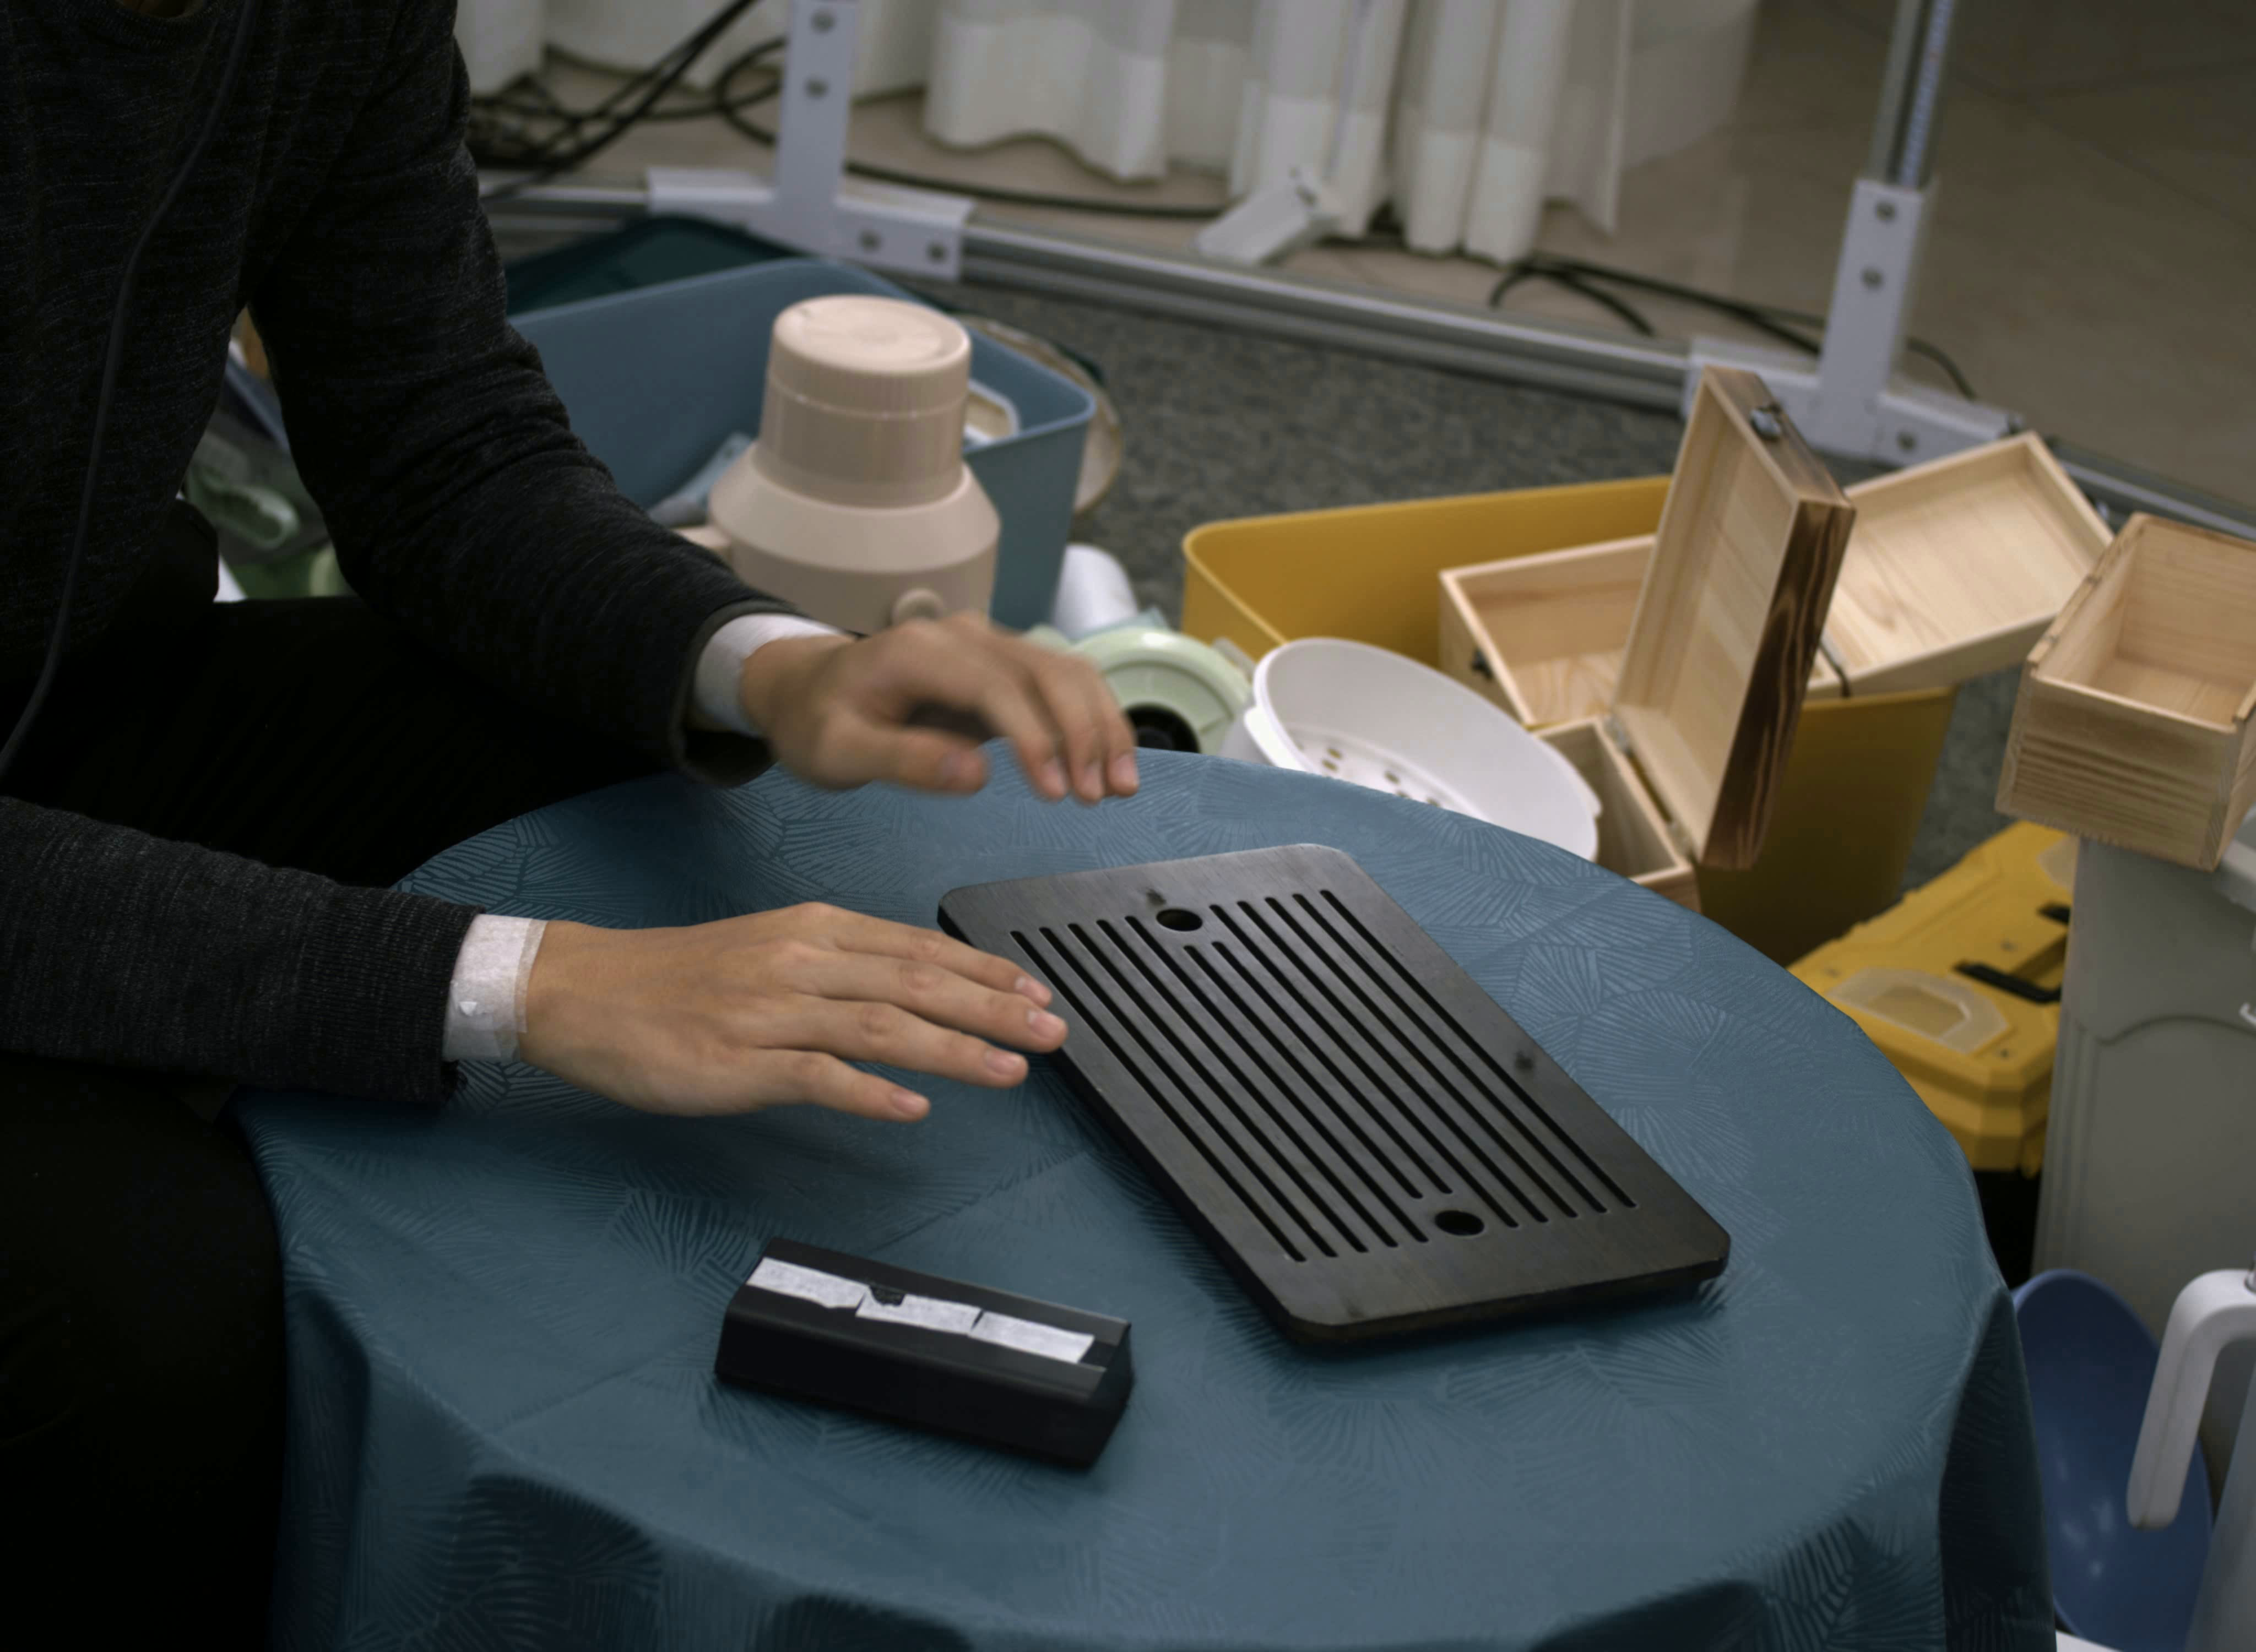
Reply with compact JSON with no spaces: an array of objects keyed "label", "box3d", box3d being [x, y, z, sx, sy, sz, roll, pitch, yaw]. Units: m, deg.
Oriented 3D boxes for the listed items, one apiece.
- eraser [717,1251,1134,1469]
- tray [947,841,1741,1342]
[{"label":"eraser","box3d":[-0.063,0.167,1.672,0.125,0.030,0.053,11,24,11]},{"label":"tray","box3d":[0.069,0.090,1.864,0.169,0.018,0.309,-7,30,-24]}]
